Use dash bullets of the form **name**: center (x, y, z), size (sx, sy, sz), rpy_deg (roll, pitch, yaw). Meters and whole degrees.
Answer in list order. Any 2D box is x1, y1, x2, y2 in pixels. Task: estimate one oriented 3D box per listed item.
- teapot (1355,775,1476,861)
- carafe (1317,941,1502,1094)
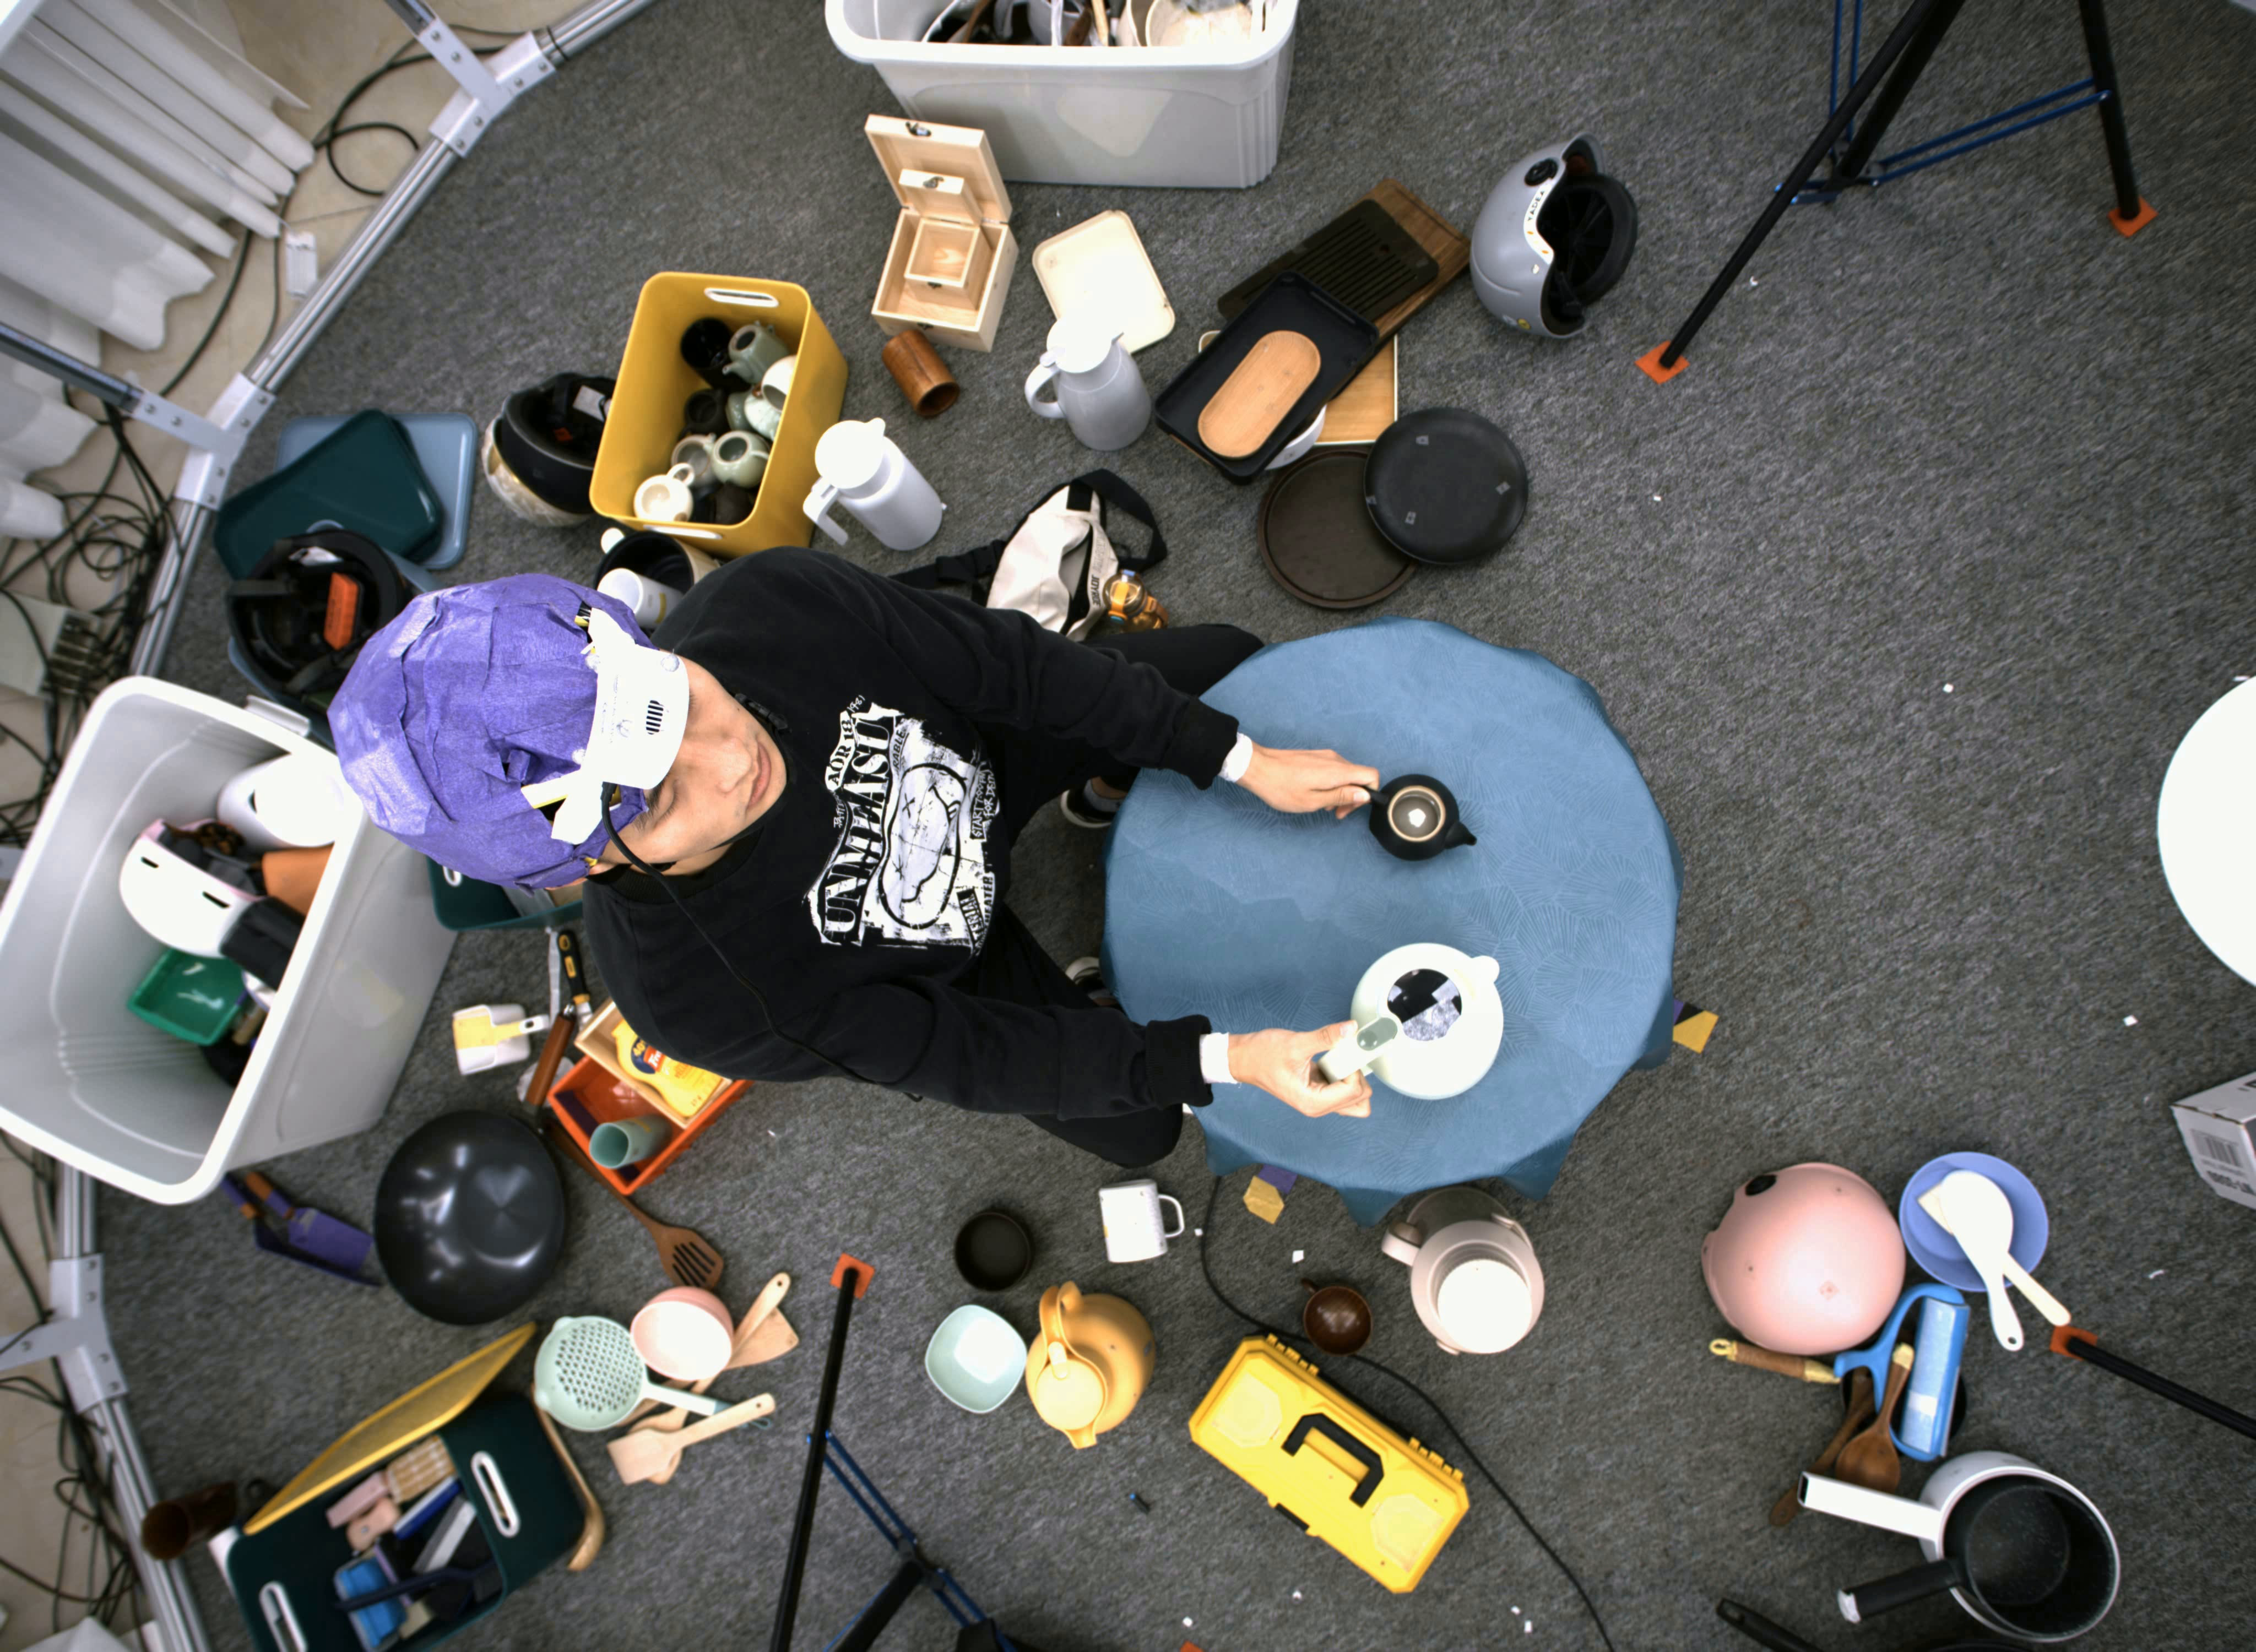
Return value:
- **teapot**: center (0.296, -0.011, 1.427), size (0.133, 0.053, 0.091), rpy_deg (26, 89, 9)
- **carafe**: center (0.269, 0.186, 1.305), size (0.188, 0.257, 0.143), rpy_deg (-34, 74, 8)
